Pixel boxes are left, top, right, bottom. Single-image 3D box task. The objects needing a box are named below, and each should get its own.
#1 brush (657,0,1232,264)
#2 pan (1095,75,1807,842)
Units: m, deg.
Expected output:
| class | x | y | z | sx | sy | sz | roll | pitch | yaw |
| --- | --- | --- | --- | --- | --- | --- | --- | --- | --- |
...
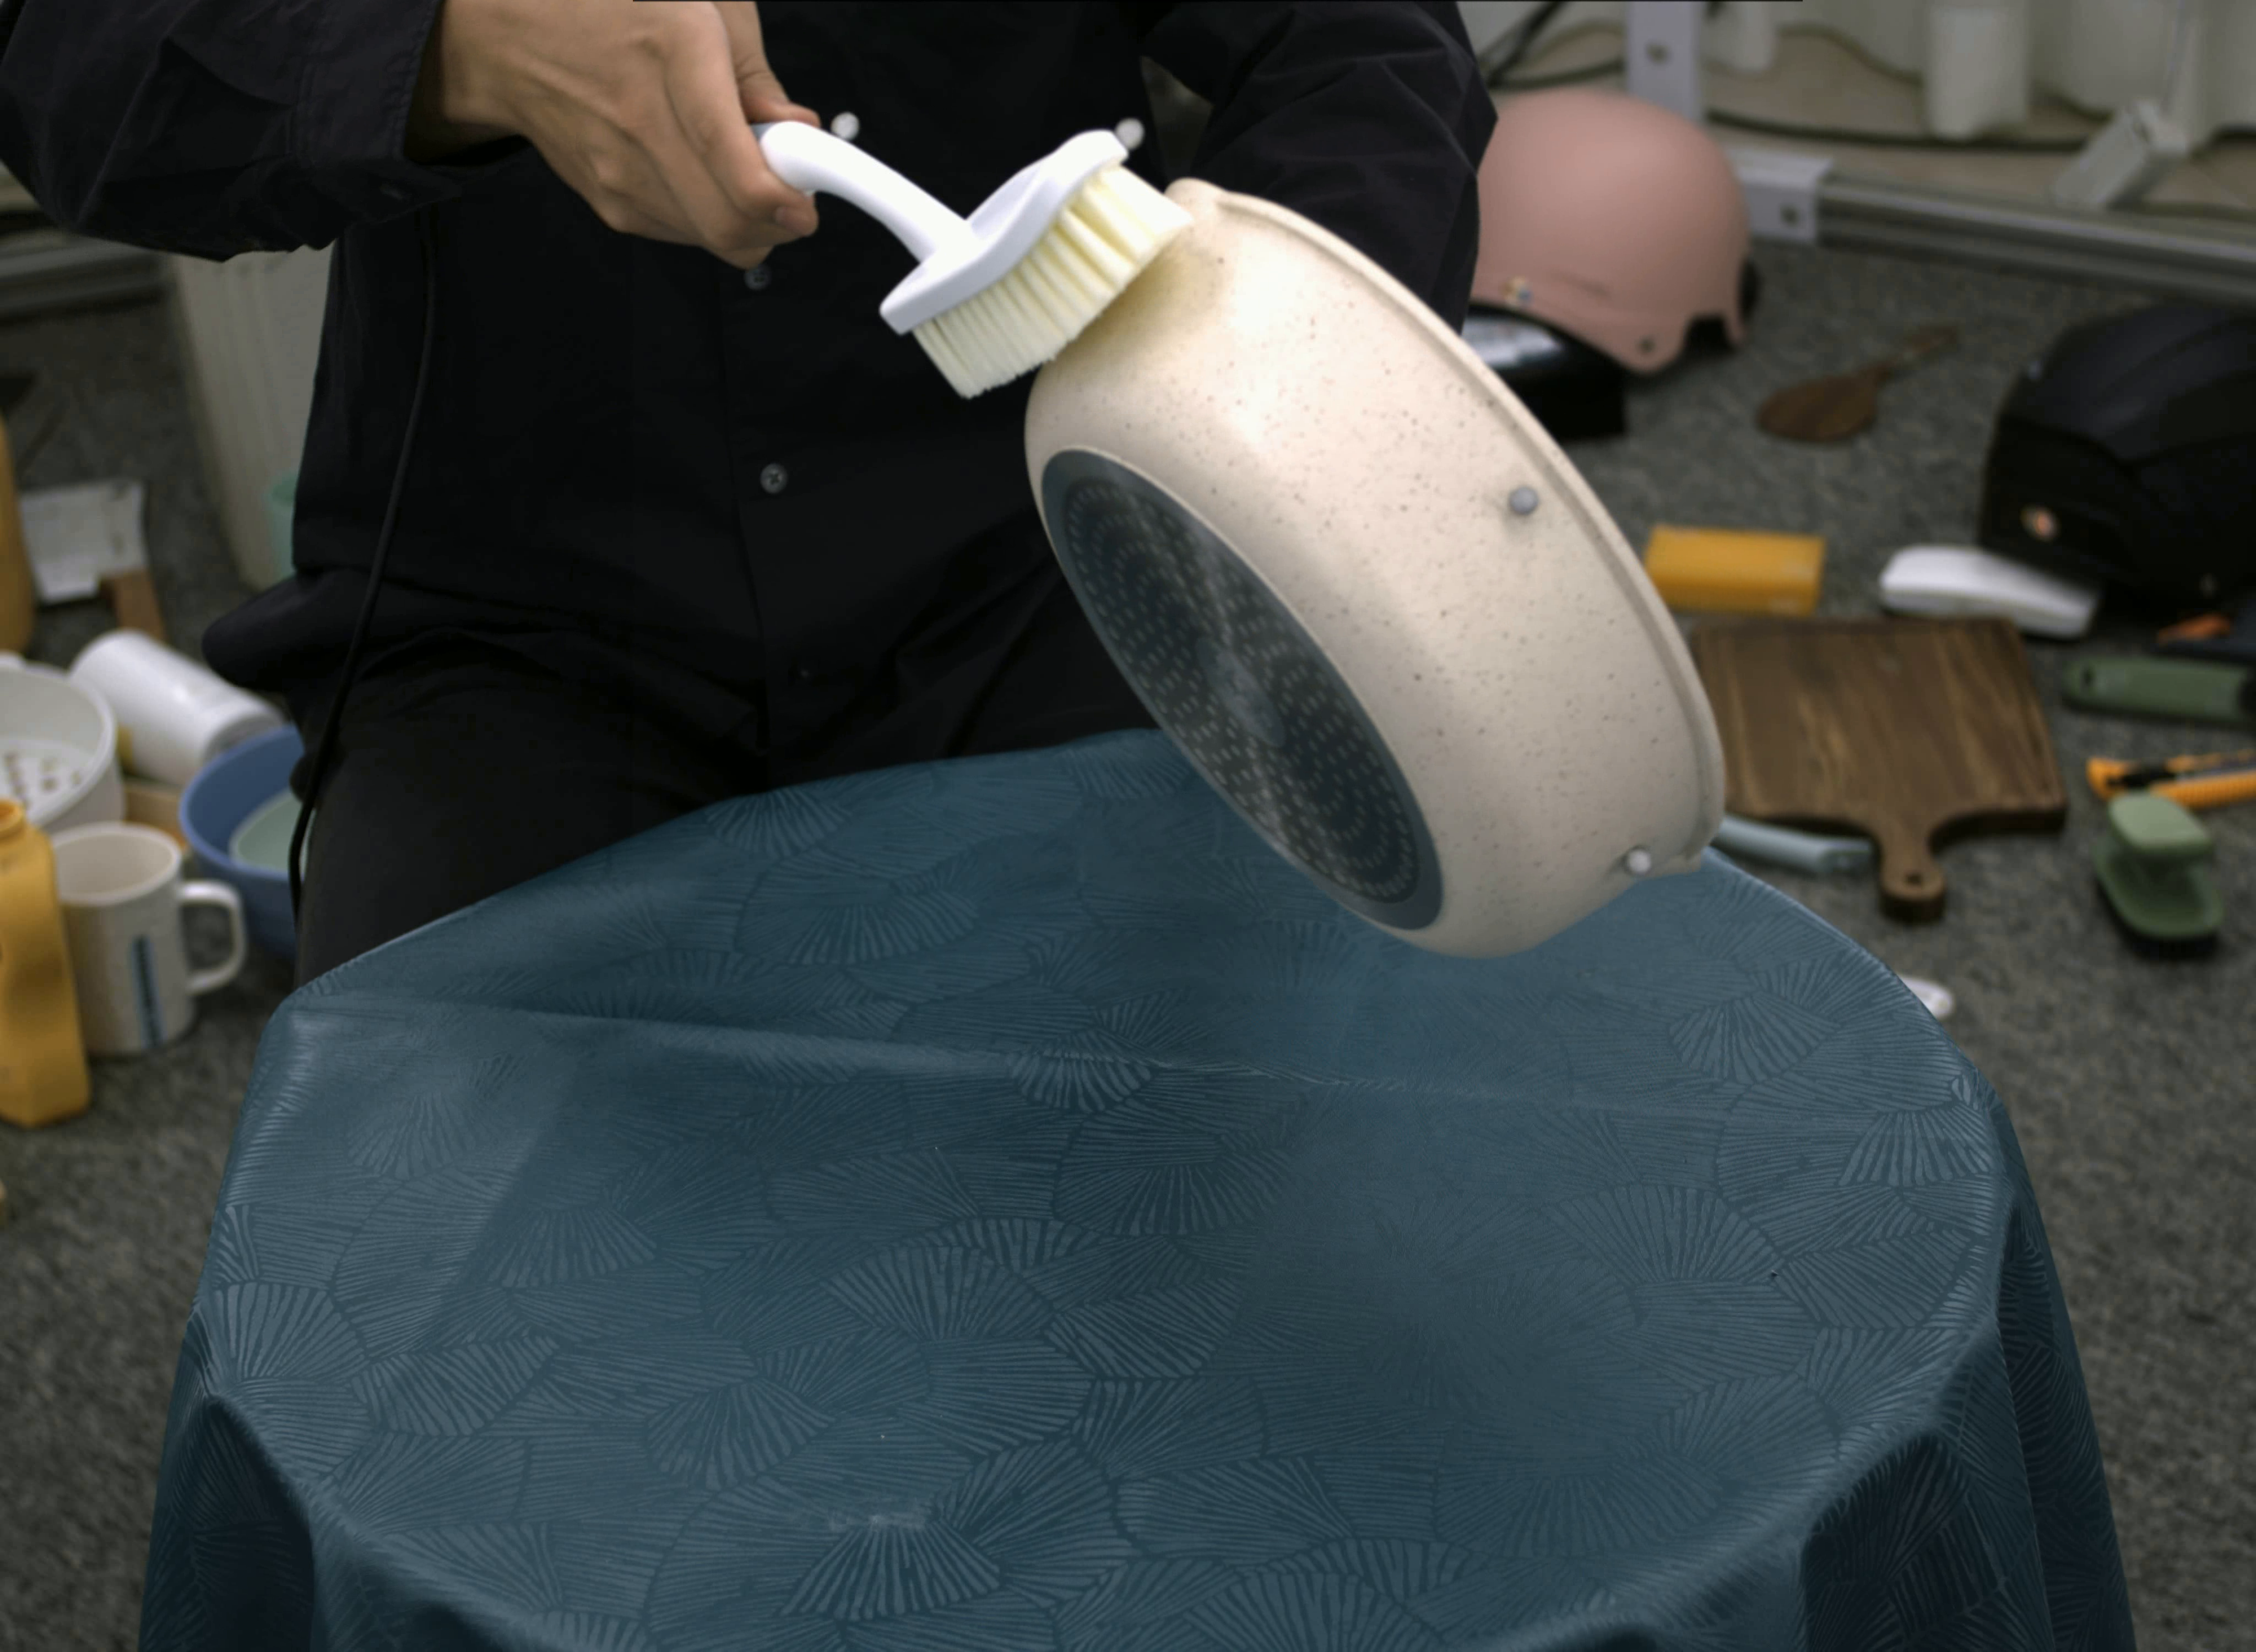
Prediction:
| class | x | y | z | sx | sy | sz | roll | pitch | yaw |
| --- | --- | --- | --- | --- | --- | --- | --- | --- | --- |
| brush | -0.053 | -0.219 | 1.771 | 0.083 | 0.084 | 0.324 | -5 | 7 | -28 |
| pan | 0.068 | -0.097 | 1.802 | 0.103 | 0.263 | 0.431 | -41 | 6 | -15 |
